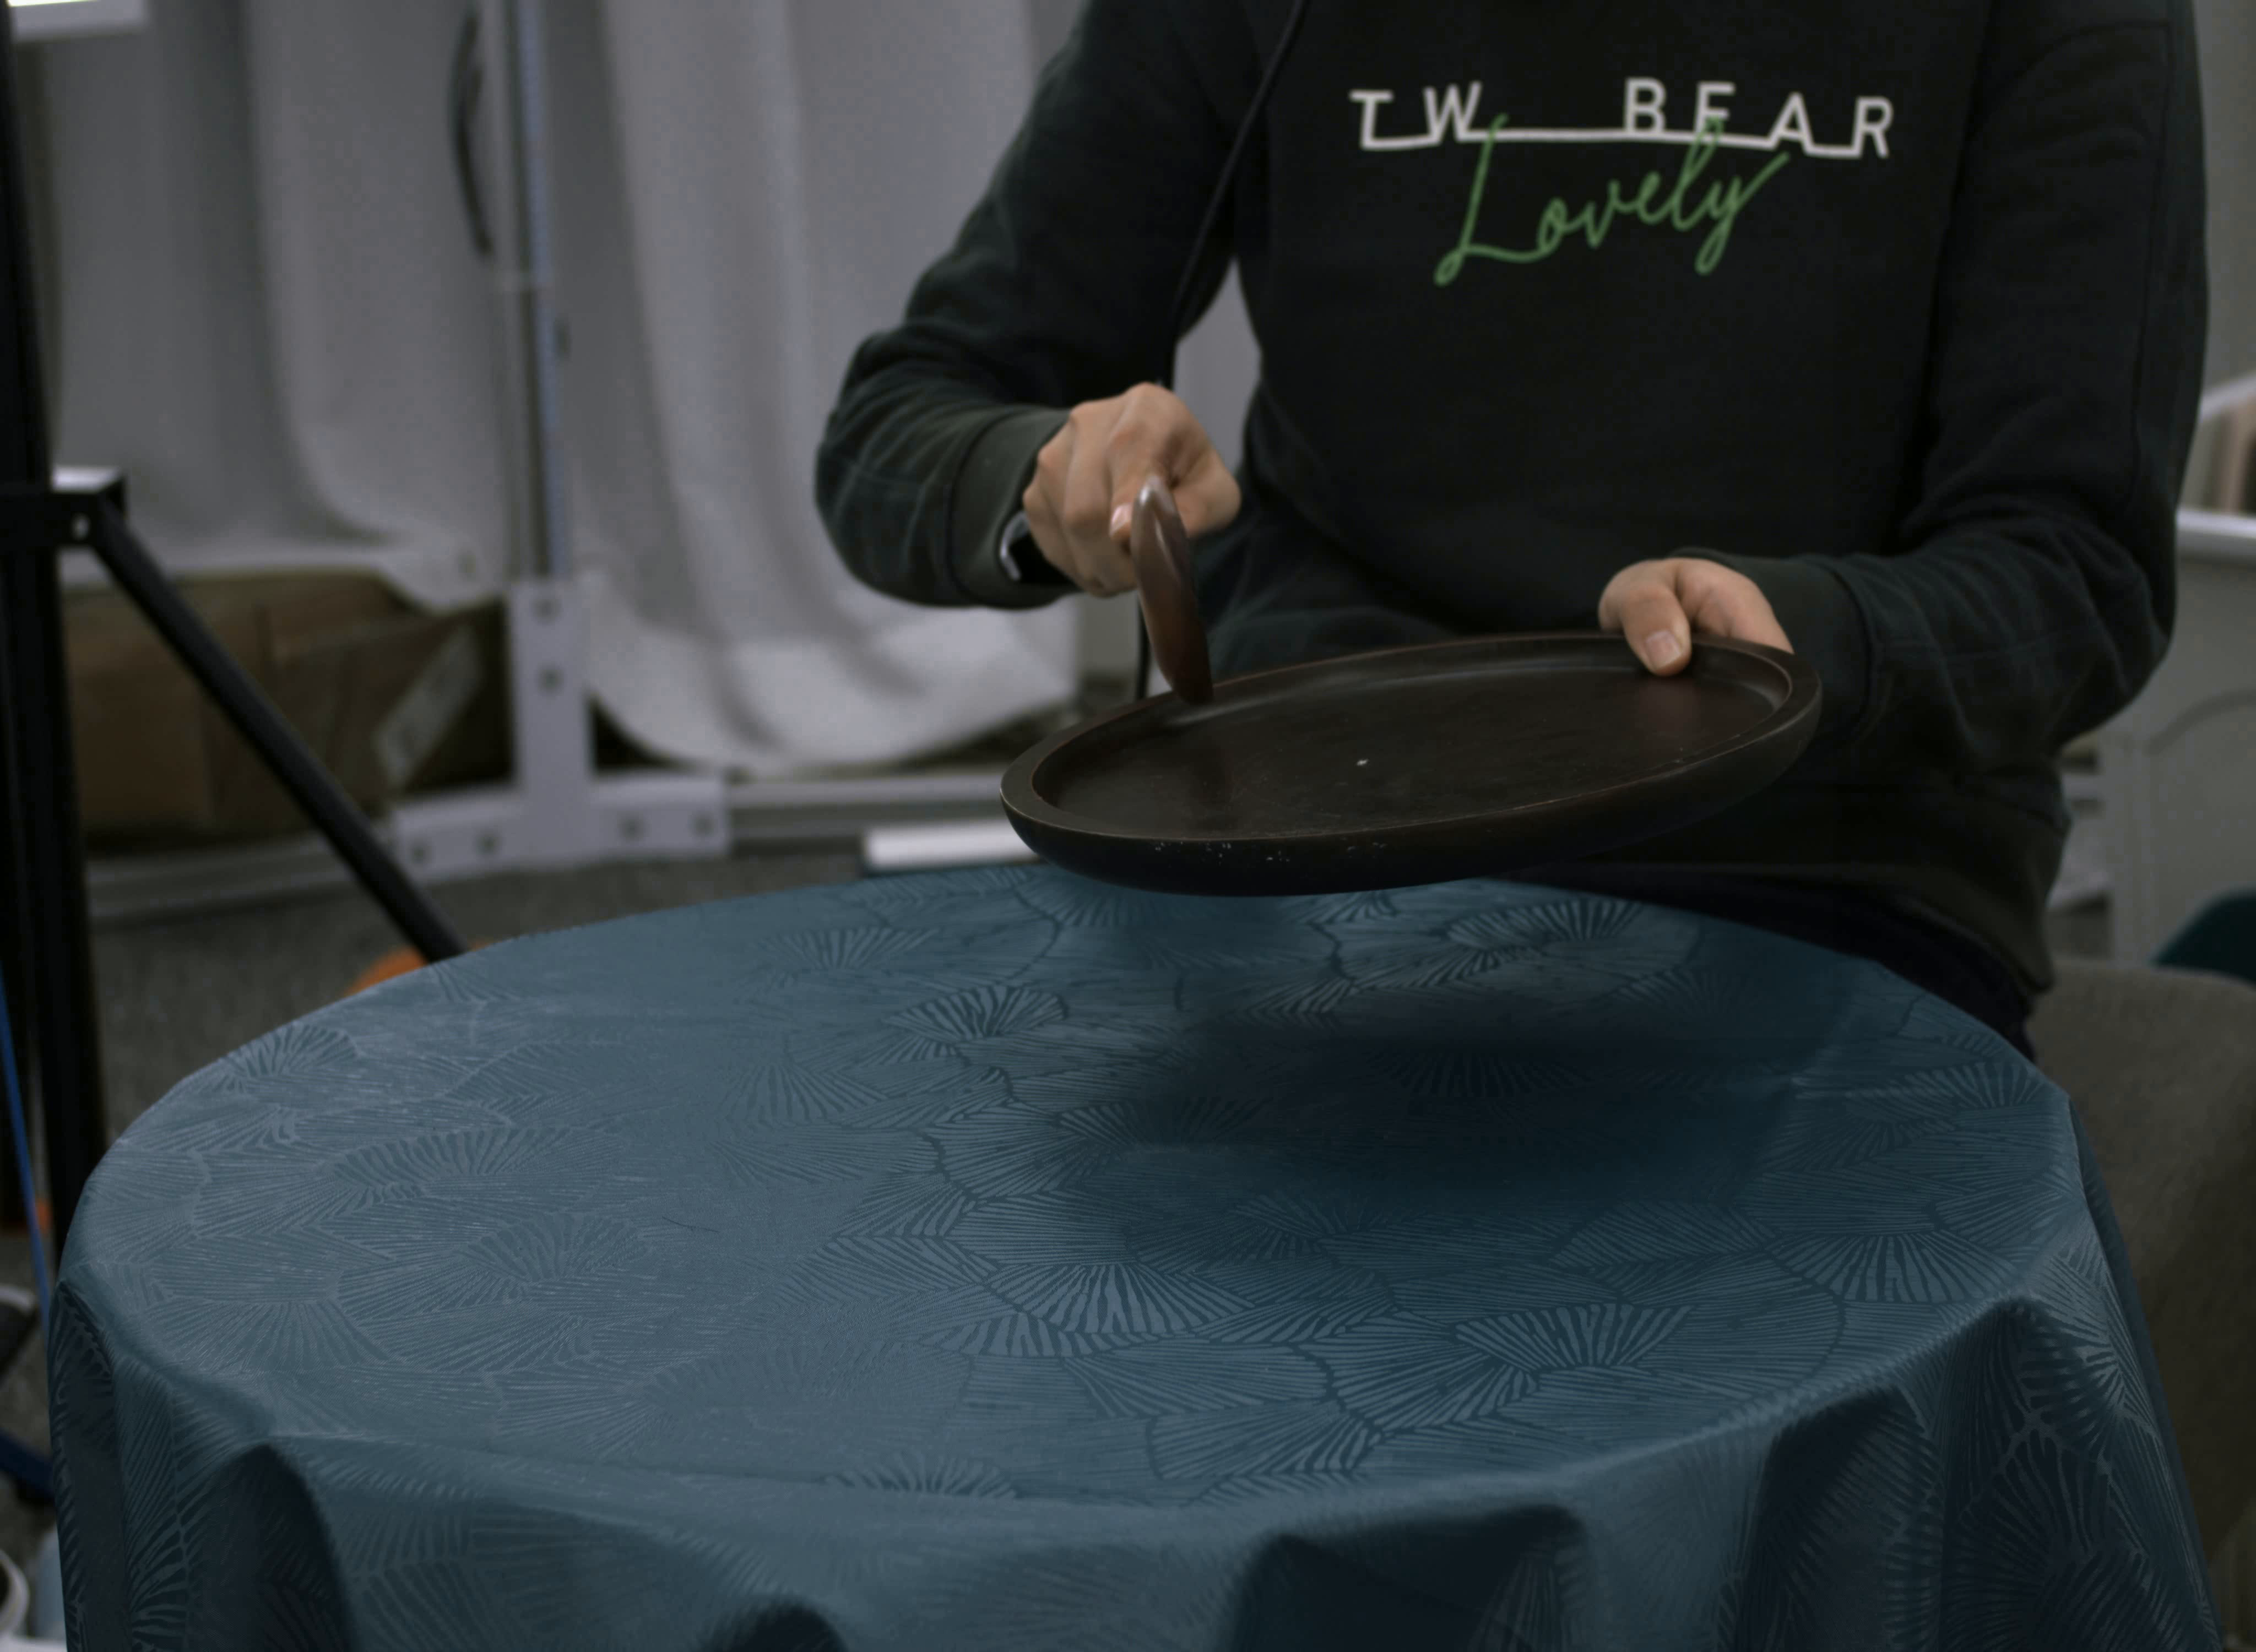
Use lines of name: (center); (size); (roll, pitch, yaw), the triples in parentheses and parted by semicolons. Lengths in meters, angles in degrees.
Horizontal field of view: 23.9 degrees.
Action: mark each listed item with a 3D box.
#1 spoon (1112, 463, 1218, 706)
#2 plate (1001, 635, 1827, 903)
spoon: (0.008, -0.089, 1.745); (0.017, 0.075, 0.217); (-14, 14, 0)
plate: (0.087, -0.019, 1.620); (0.254, 0.029, 0.256); (-8, 15, 1)
